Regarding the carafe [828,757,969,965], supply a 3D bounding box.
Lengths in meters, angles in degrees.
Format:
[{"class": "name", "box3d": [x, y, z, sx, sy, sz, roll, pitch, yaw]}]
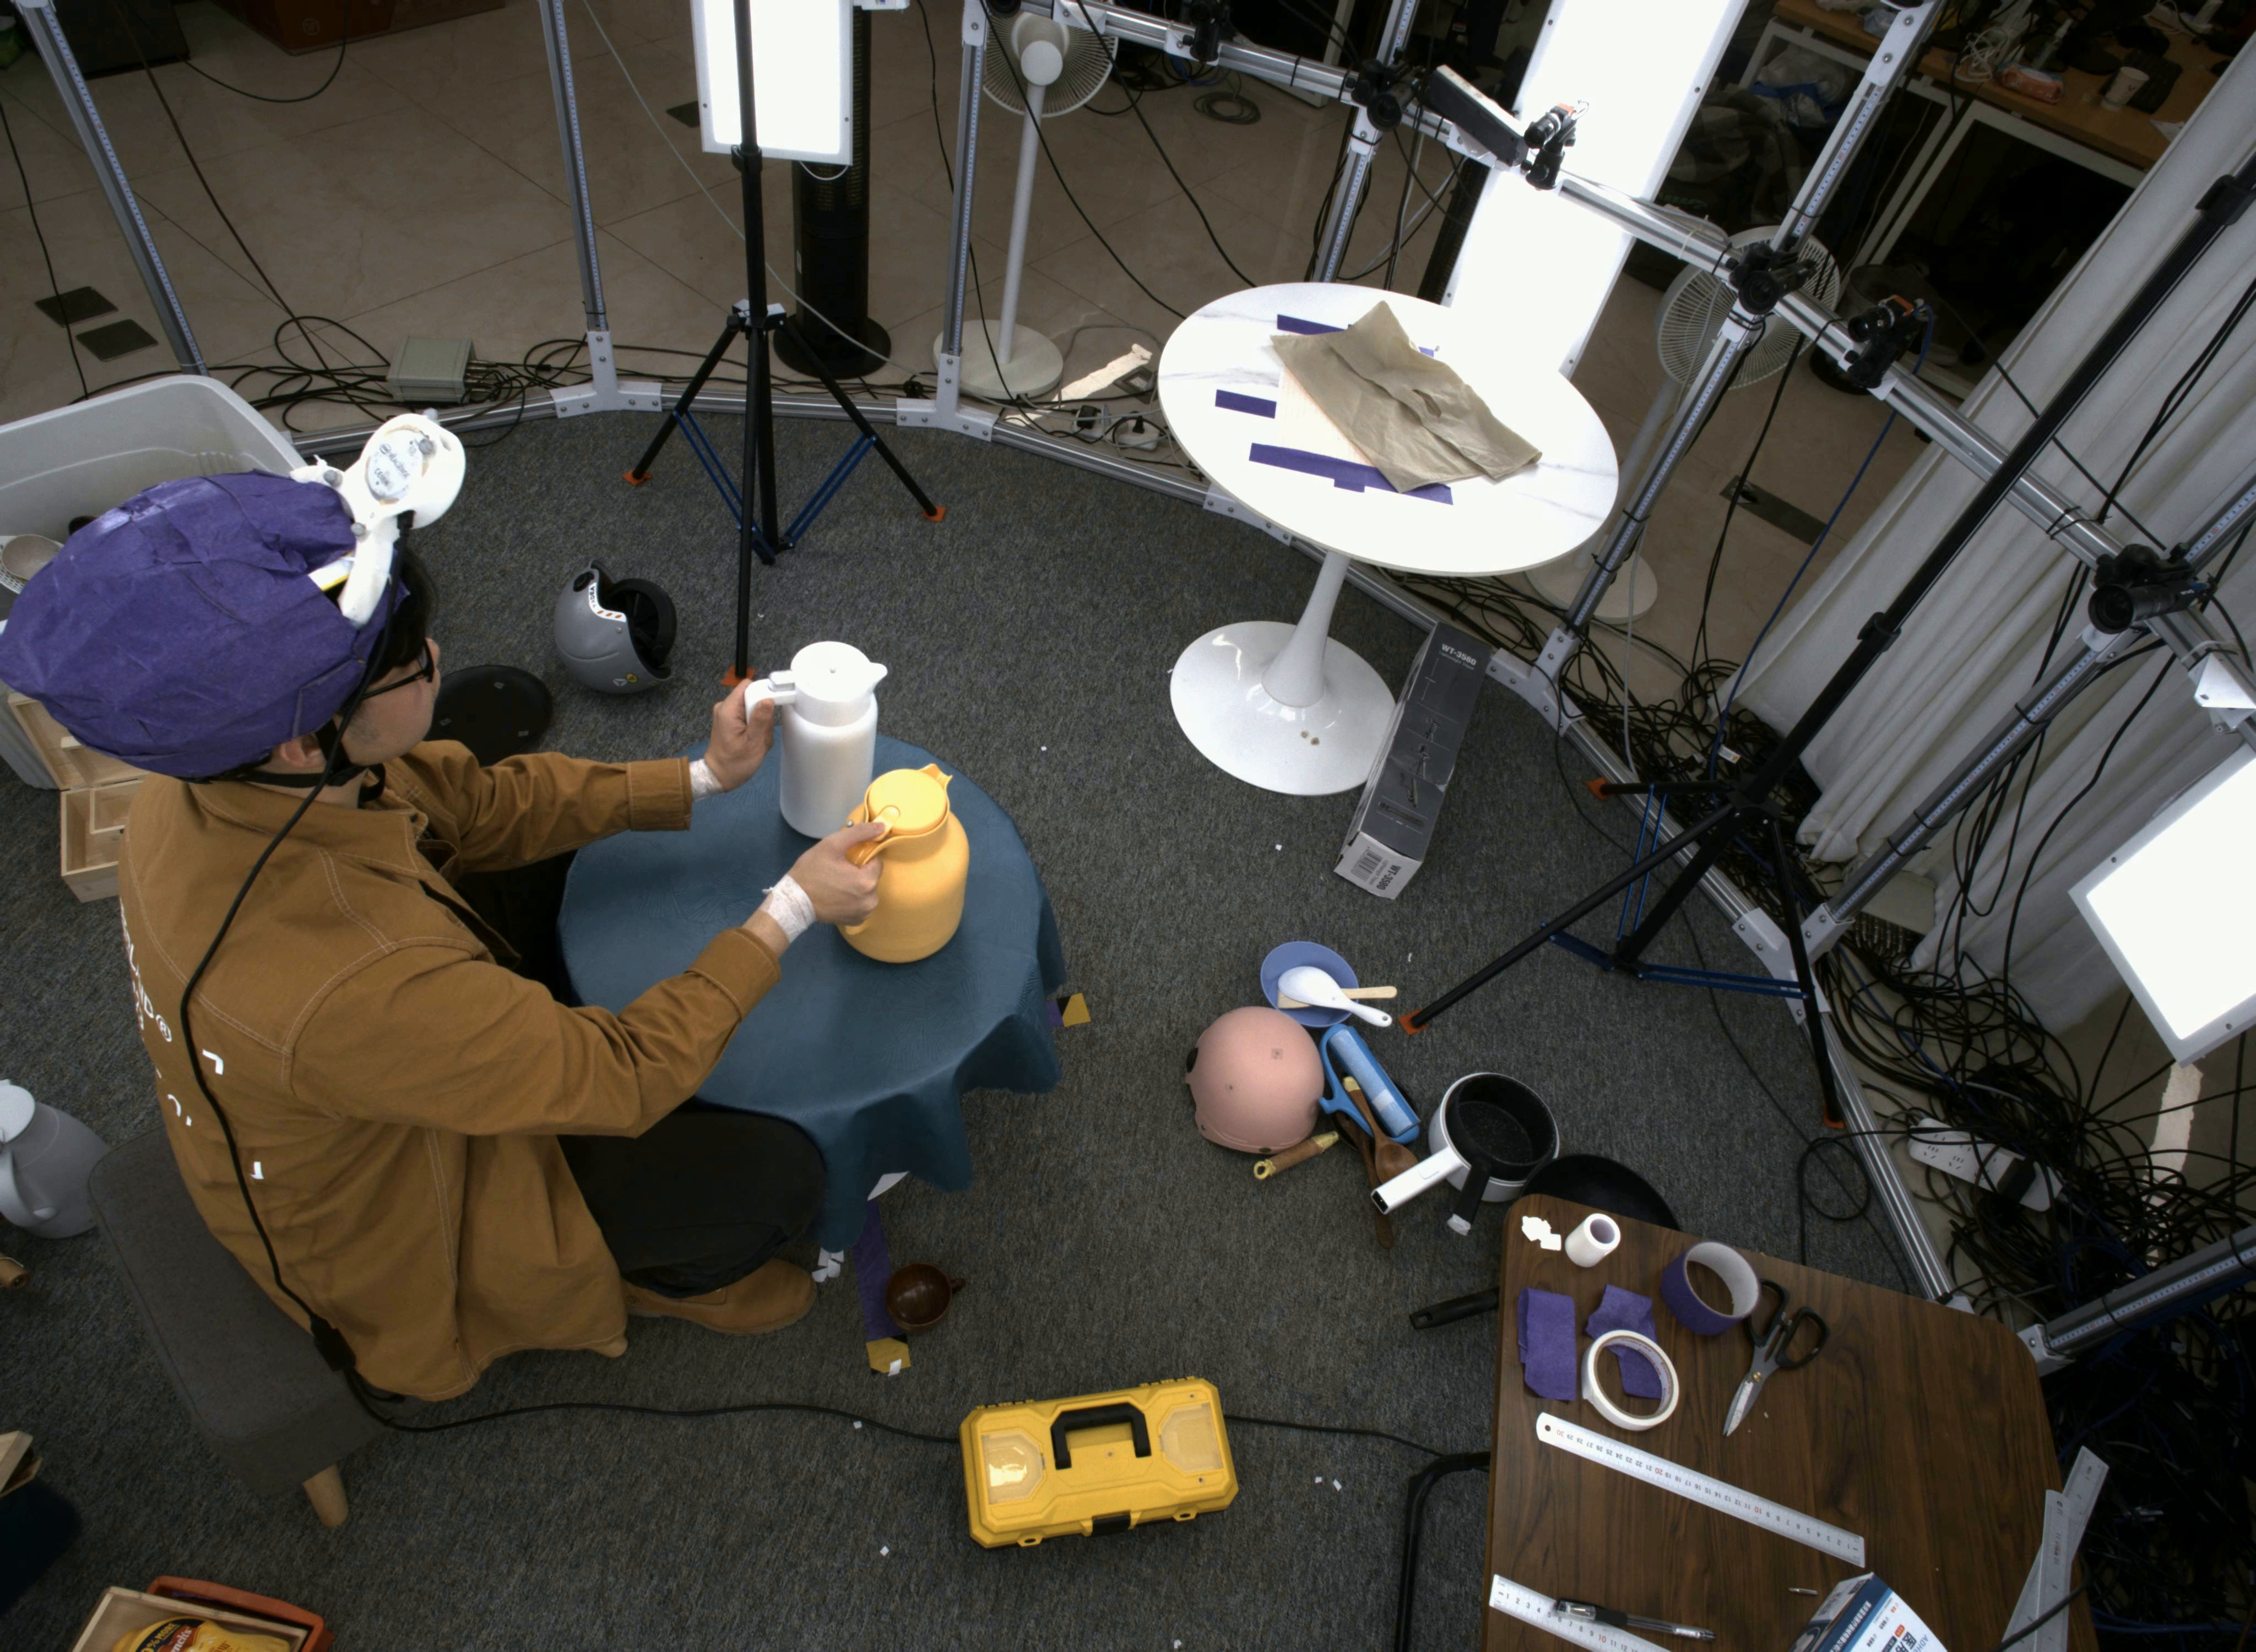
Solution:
[{"class": "carafe", "box3d": [-0.283, 0.048, 1.549, 0.160, 0.266, 0.202, 32, 51, 14]}]

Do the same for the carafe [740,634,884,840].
[{"class": "carafe", "box3d": [-0.397, -0.105, 1.630, 0.174, 0.273, 0.121, -12, 58, -23]}]
